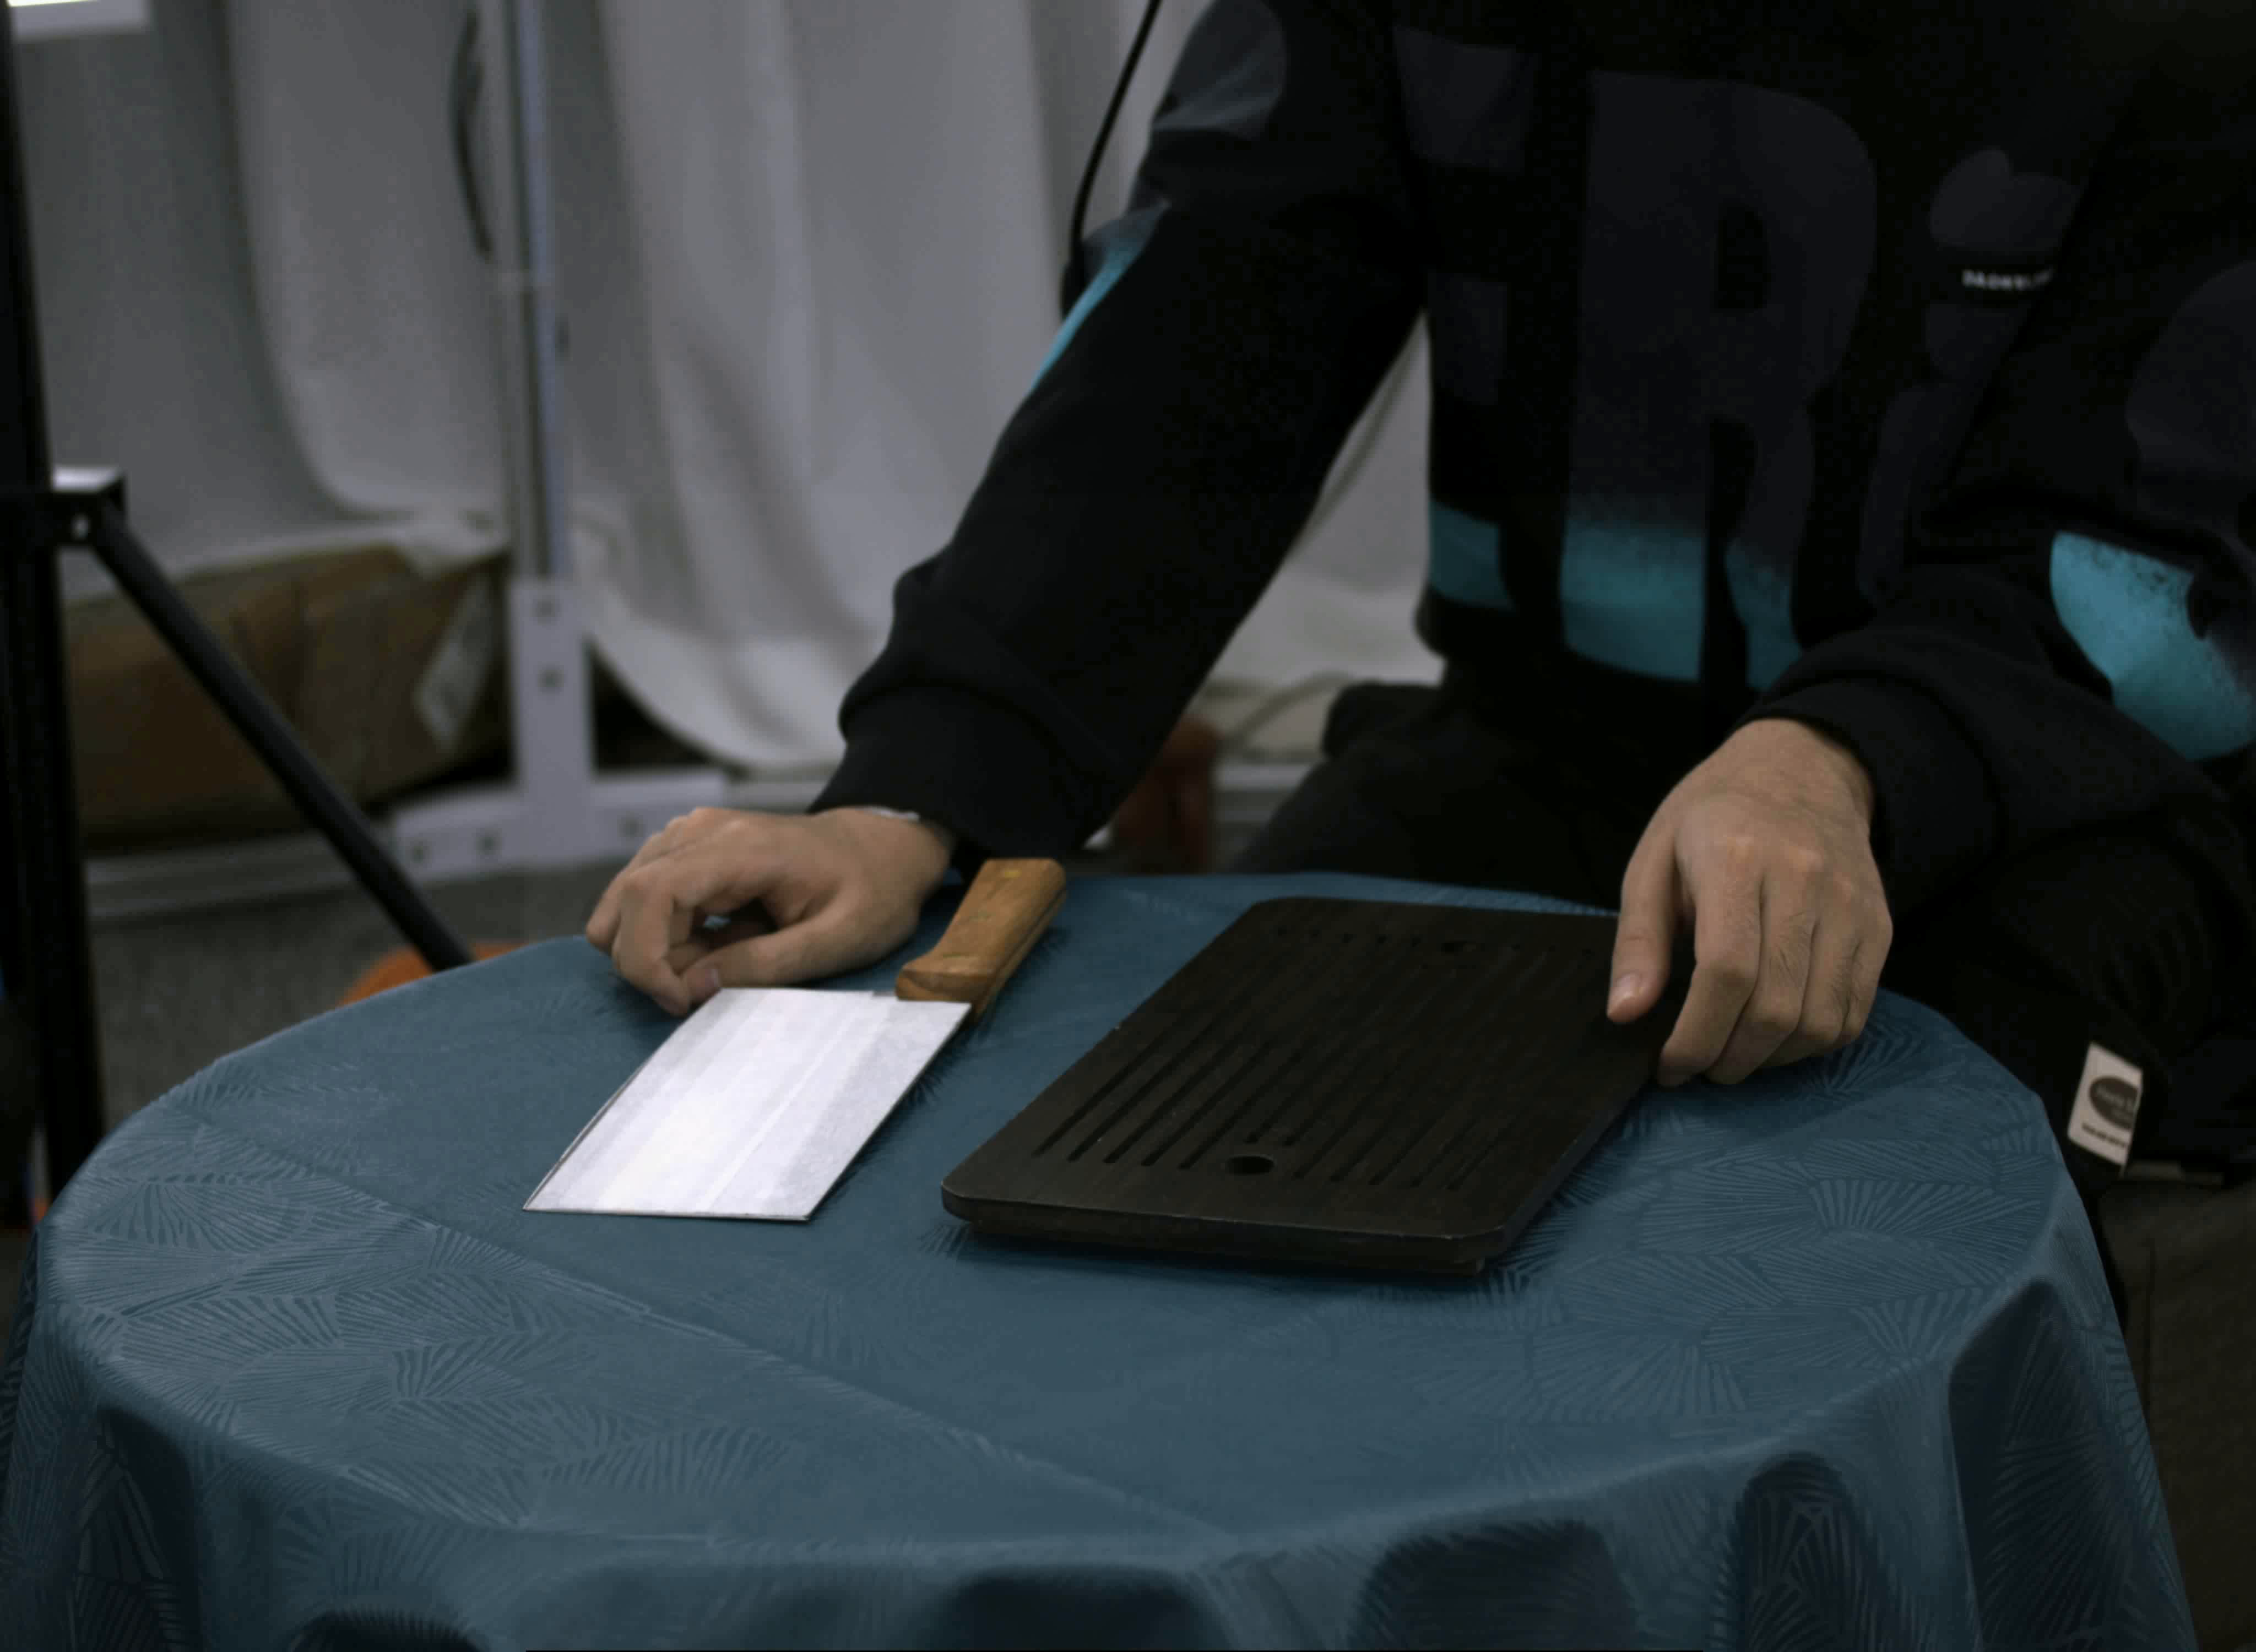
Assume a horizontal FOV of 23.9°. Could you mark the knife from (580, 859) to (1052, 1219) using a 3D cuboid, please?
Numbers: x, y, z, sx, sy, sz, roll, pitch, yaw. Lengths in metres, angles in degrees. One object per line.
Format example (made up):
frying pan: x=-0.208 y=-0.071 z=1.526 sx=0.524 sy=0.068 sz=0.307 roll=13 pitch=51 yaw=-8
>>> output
knife: x=-0.098 y=0.066 z=1.695 sx=0.093 sy=0.021 sz=0.303 roll=0 pitch=18 yaw=15

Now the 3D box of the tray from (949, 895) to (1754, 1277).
tray: x=0.076 y=0.077 z=1.623 sx=0.172 sy=0.018 sz=0.302 roll=3 pitch=17 yaw=21
